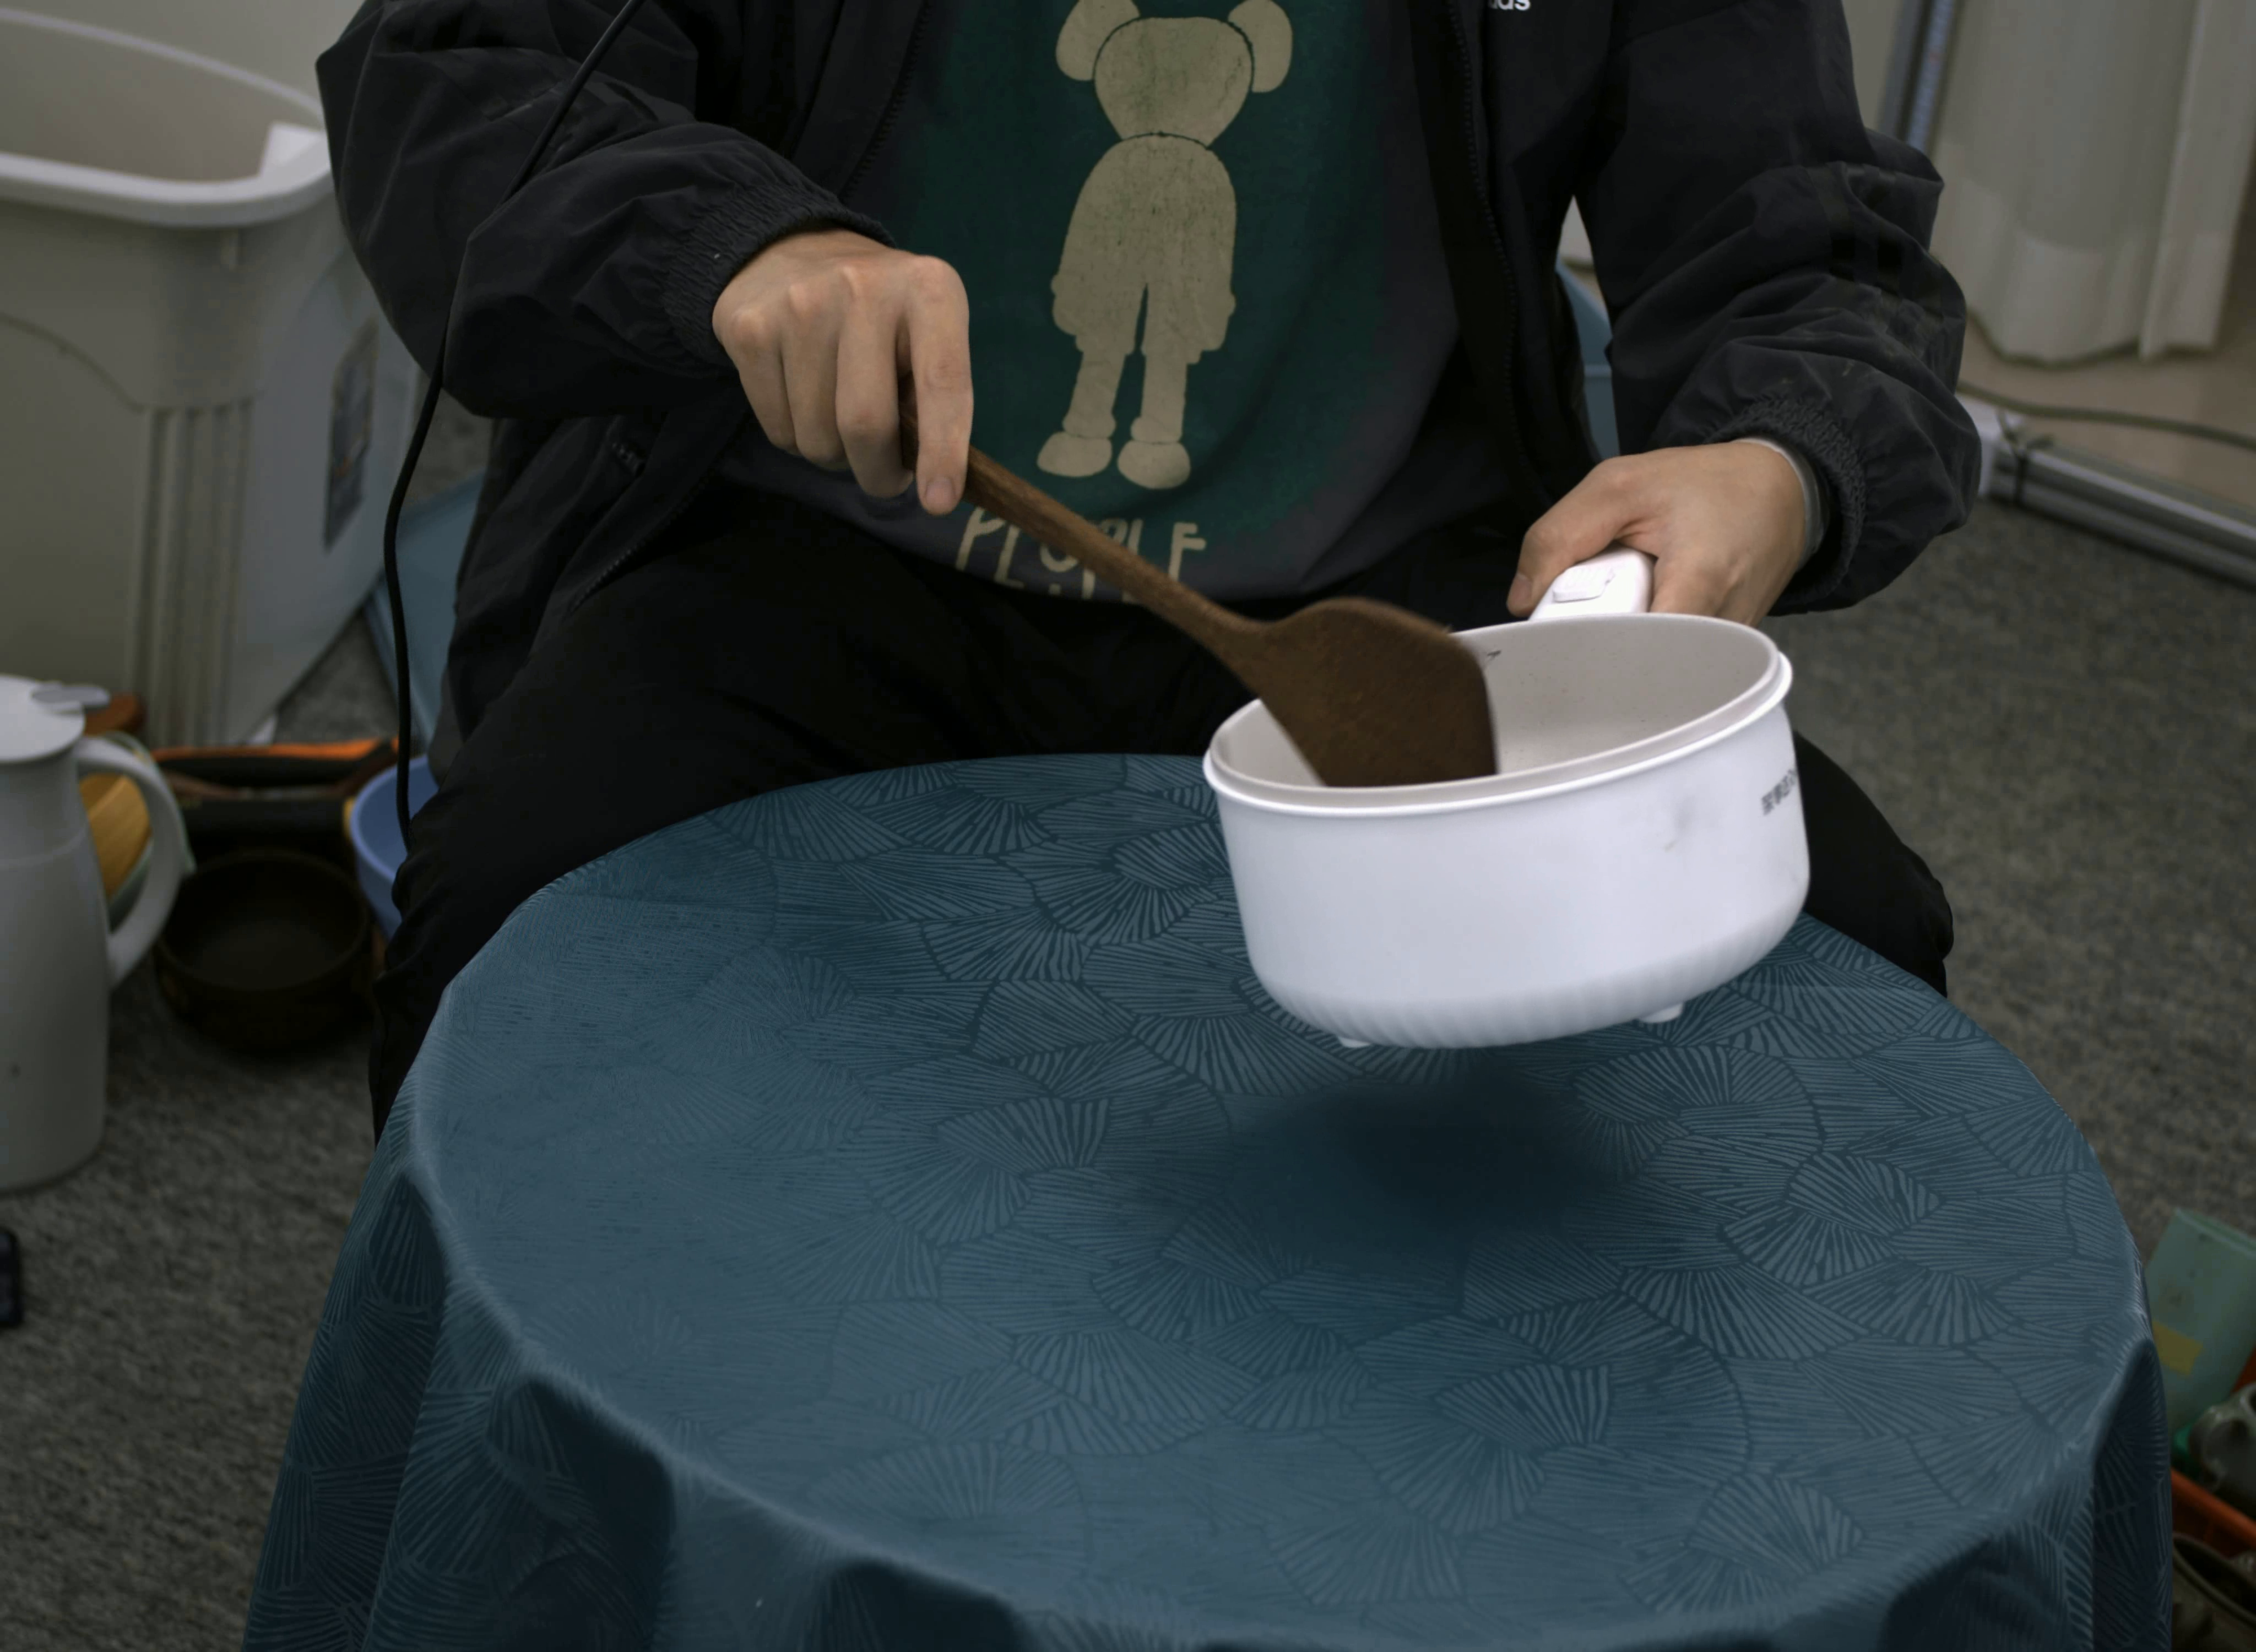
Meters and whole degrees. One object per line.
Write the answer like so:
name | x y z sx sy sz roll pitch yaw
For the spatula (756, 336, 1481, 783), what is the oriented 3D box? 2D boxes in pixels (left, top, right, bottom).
spatula | -0.010 -0.093 1.856 0.016 0.095 0.389 -26 41 -30

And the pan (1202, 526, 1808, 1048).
pan | 0.152 -0.017 1.879 0.201 0.102 0.355 -7 15 19
